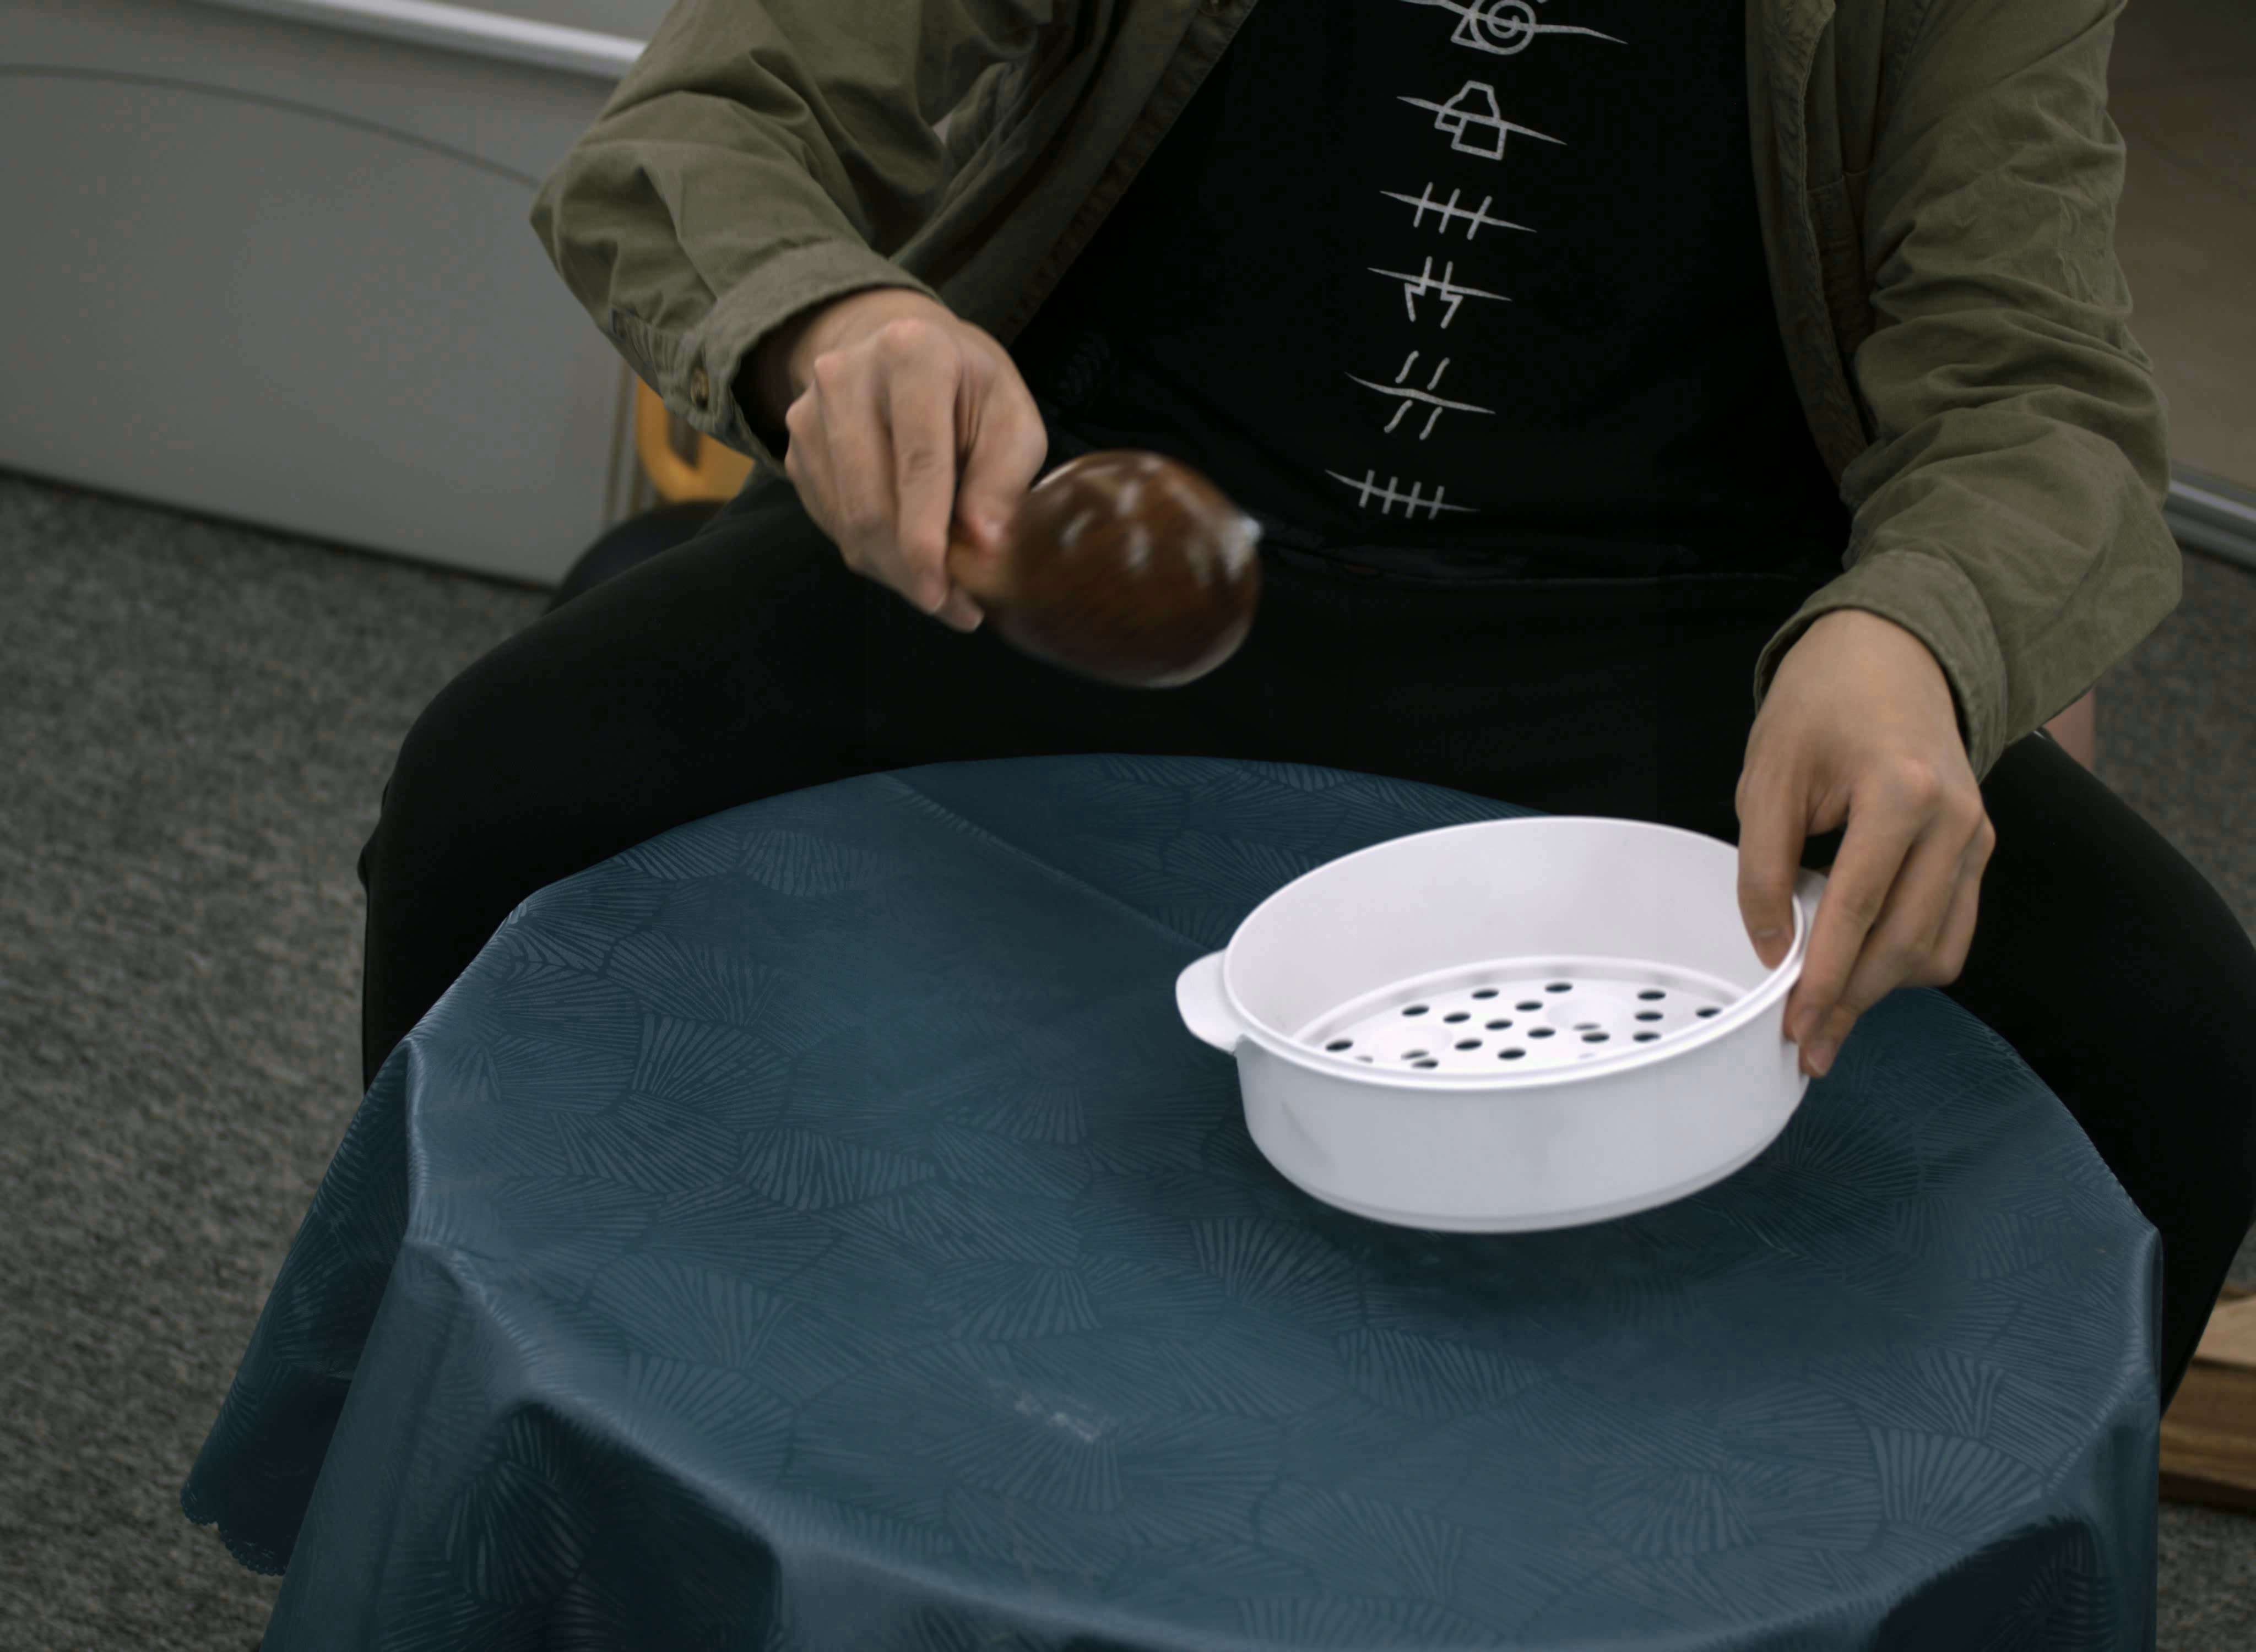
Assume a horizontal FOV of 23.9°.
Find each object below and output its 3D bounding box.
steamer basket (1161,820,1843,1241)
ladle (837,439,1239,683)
[{"bbox_3d":[0.128,0.070,1.805,0.230,0.069,0.203,-9,24,-3],"label":"steamer basket"},{"bbox_3d":[-0.035,-0.101,1.757,0.076,0.081,0.275,-31,17,-7],"label":"ladle"}]
